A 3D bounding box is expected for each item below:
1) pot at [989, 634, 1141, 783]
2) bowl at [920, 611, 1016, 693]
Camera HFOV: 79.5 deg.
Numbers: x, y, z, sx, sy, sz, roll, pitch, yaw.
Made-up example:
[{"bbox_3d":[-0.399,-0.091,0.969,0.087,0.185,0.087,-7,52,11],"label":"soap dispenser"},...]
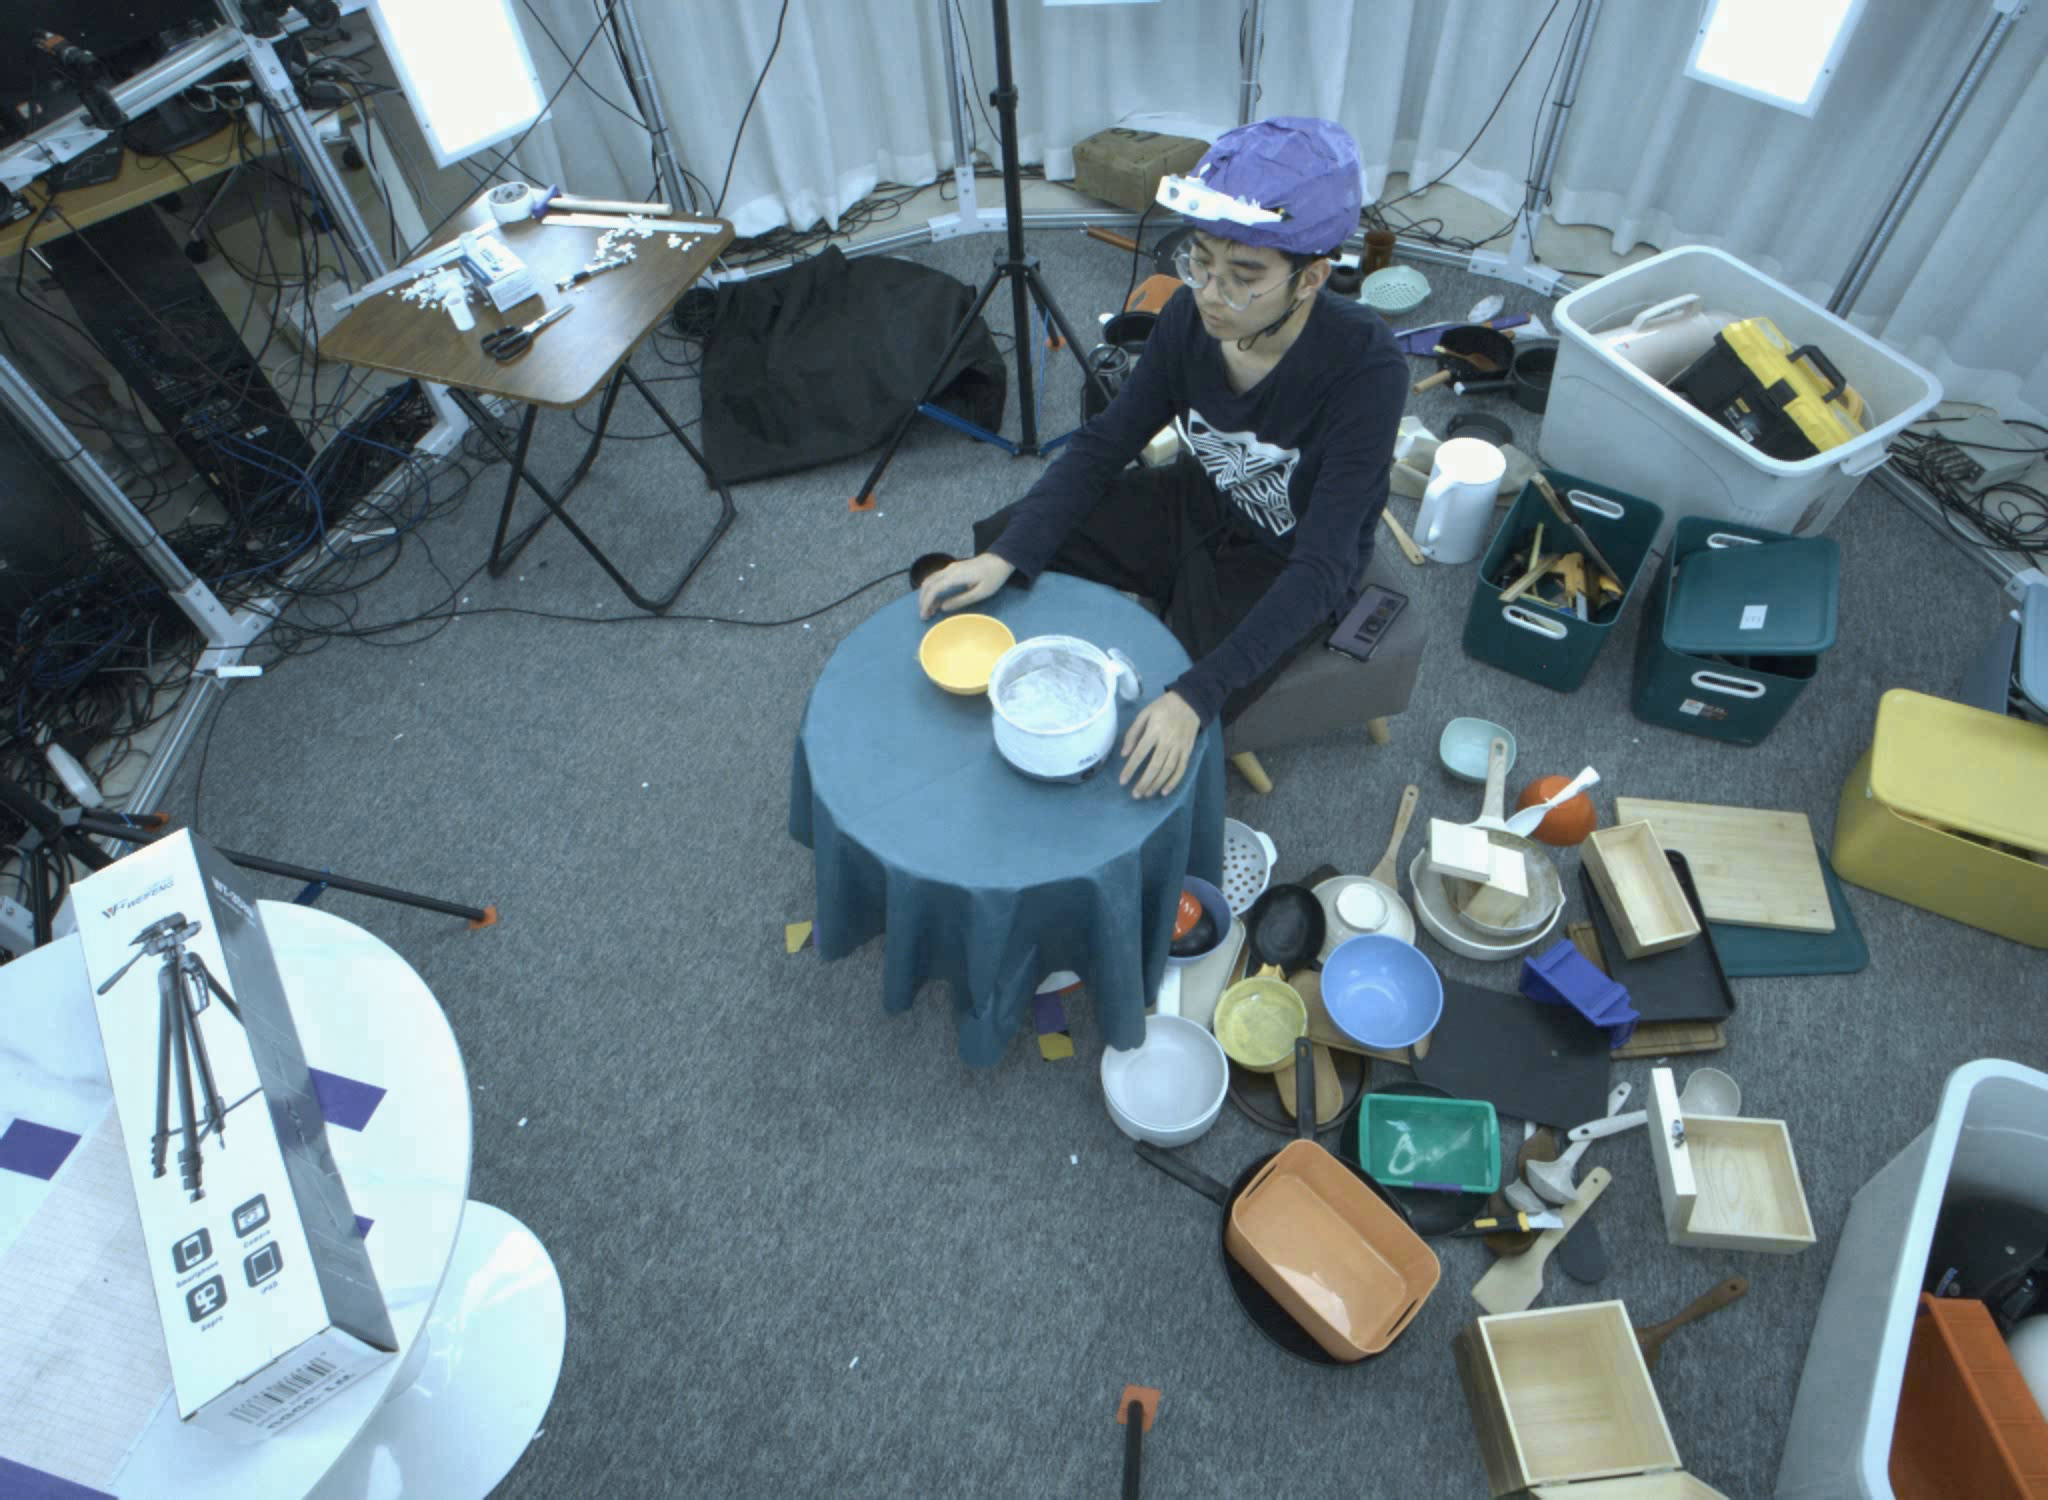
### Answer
[{"bbox_3d":[0.065,-0.068,1.757,0.235,0.138,0.175,-29,61,-17],"label":"pot"},{"bbox_3d":[-0.083,-0.136,1.856,0.145,0.061,0.144,-1,56,2],"label":"bowl"}]
